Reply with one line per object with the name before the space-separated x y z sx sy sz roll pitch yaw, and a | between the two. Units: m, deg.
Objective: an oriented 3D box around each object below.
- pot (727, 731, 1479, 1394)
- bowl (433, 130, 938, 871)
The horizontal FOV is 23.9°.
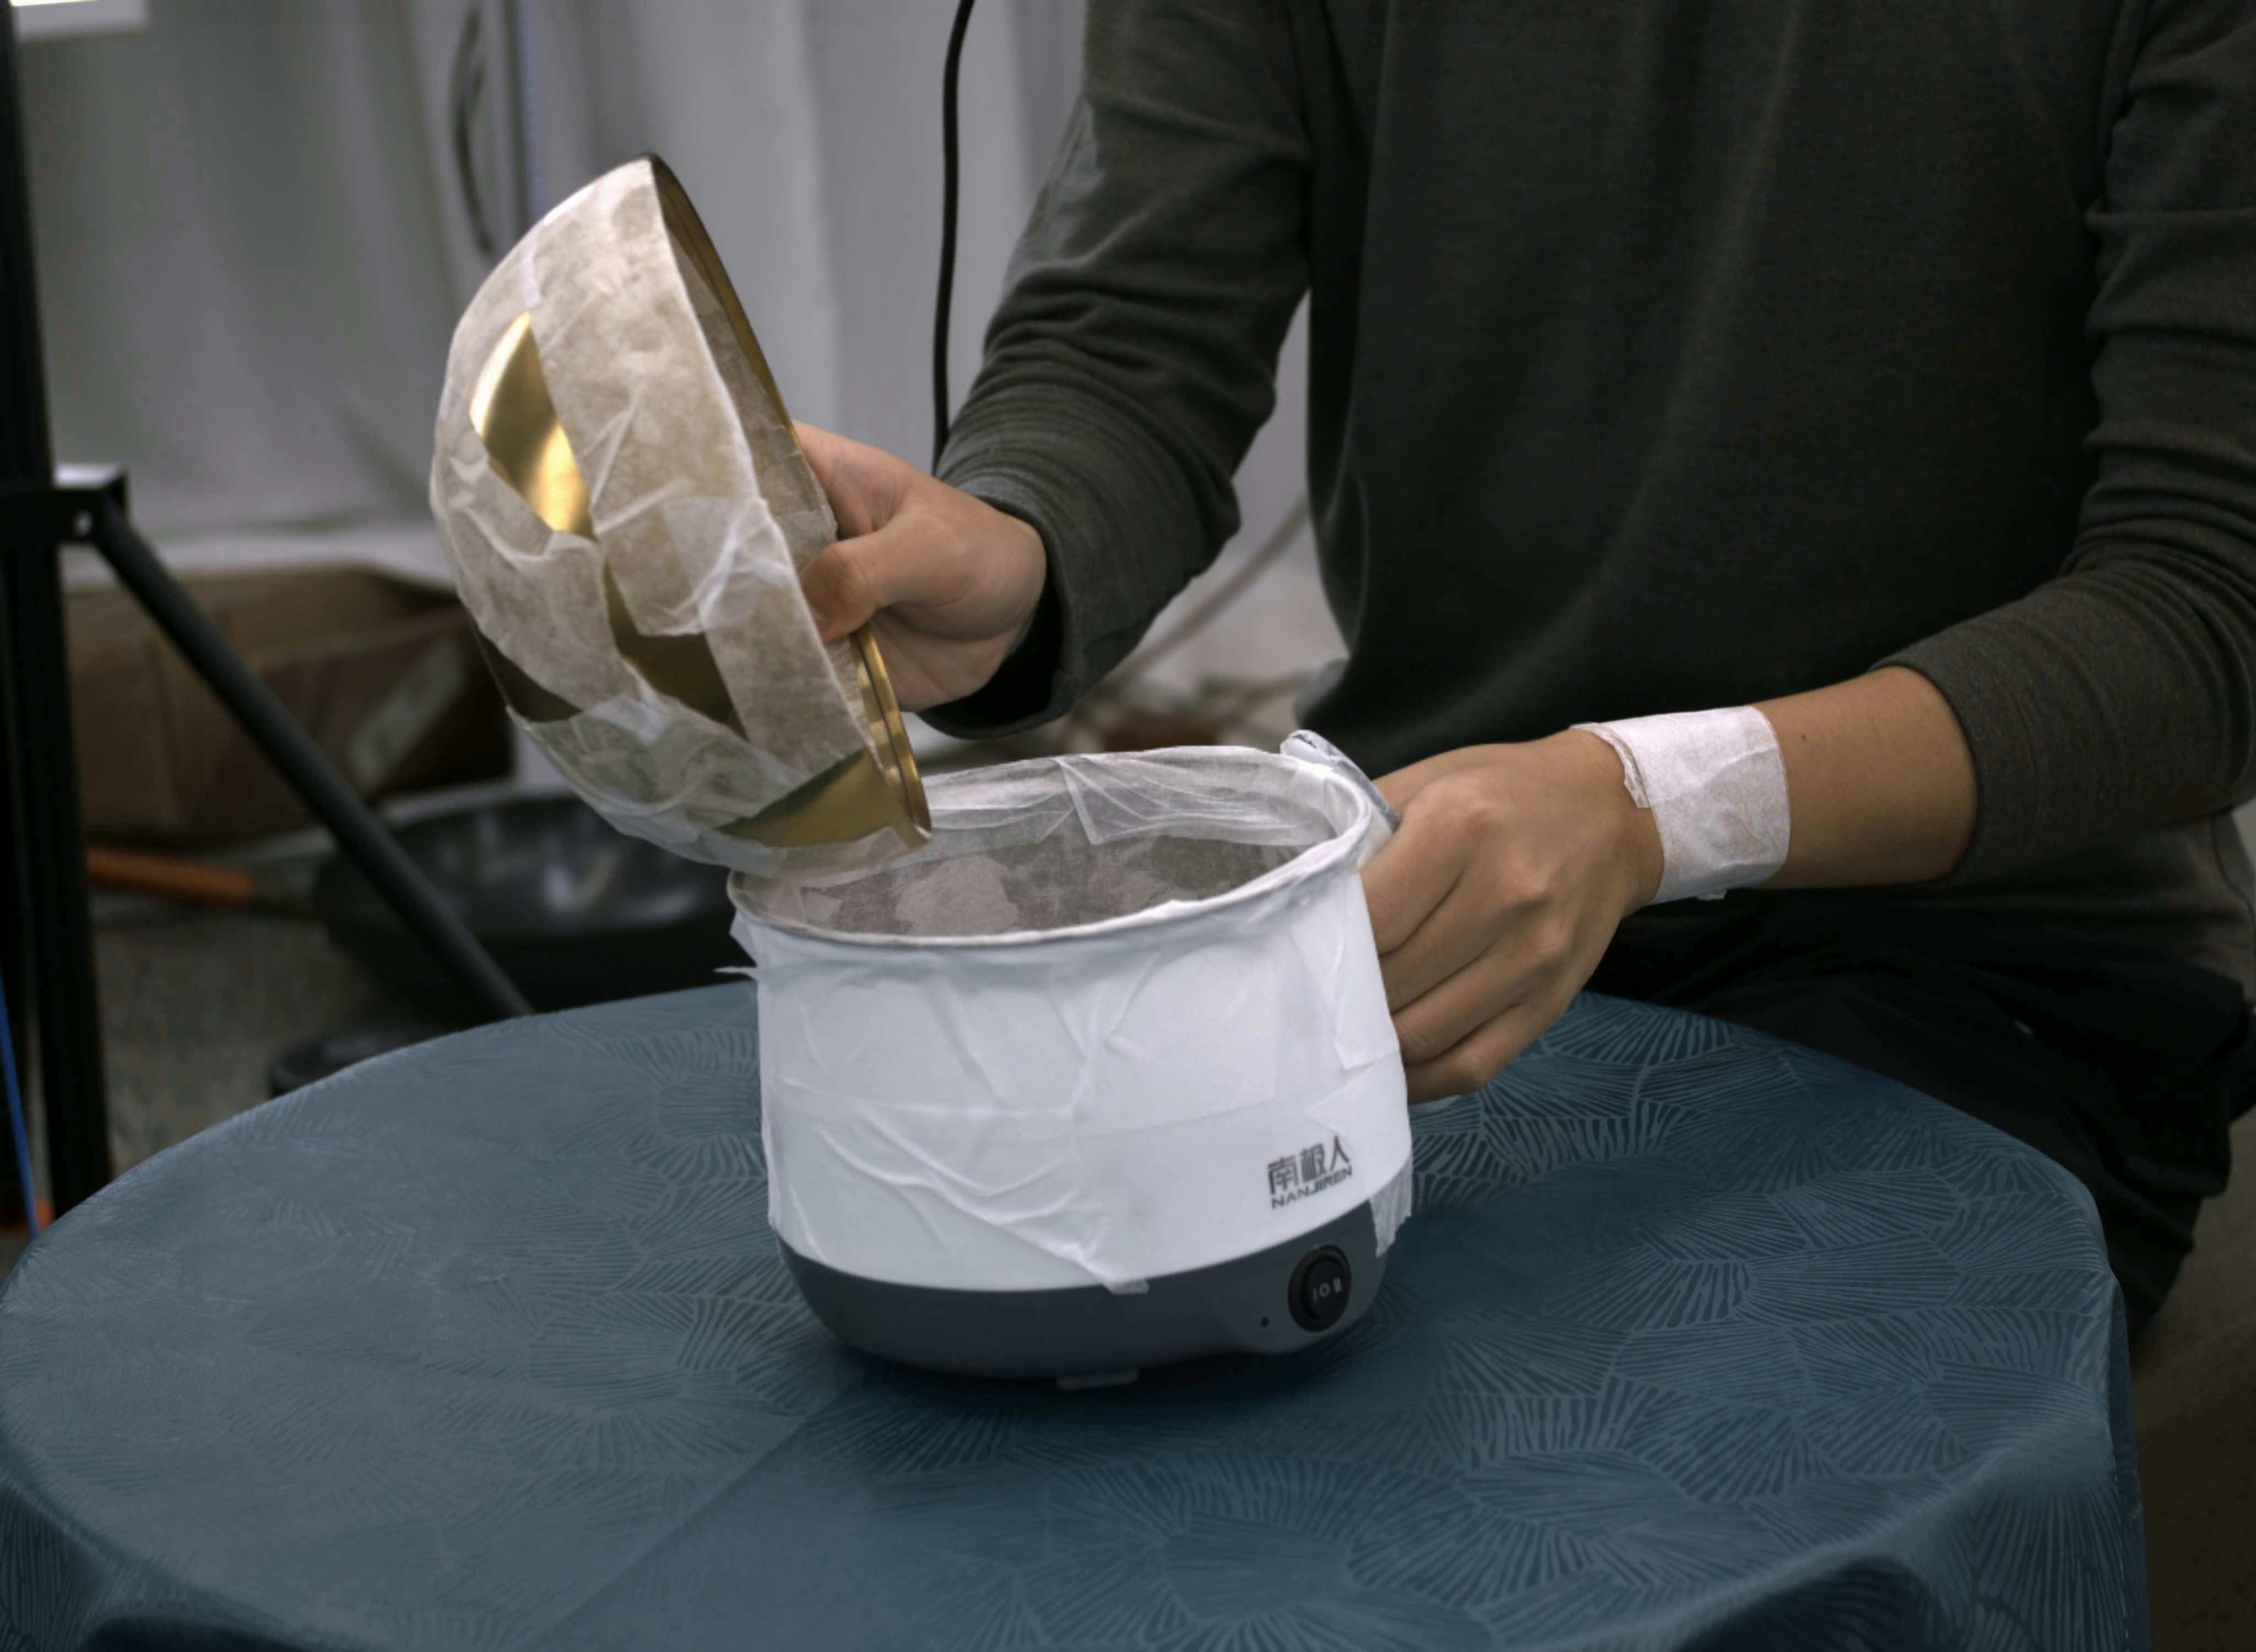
pot | 0.006 0.058 1.466 0.228 0.136 0.183 -20 20 -40
bowl | -0.128 -0.071 1.430 0.094 0.213 0.216 -22 16 1
